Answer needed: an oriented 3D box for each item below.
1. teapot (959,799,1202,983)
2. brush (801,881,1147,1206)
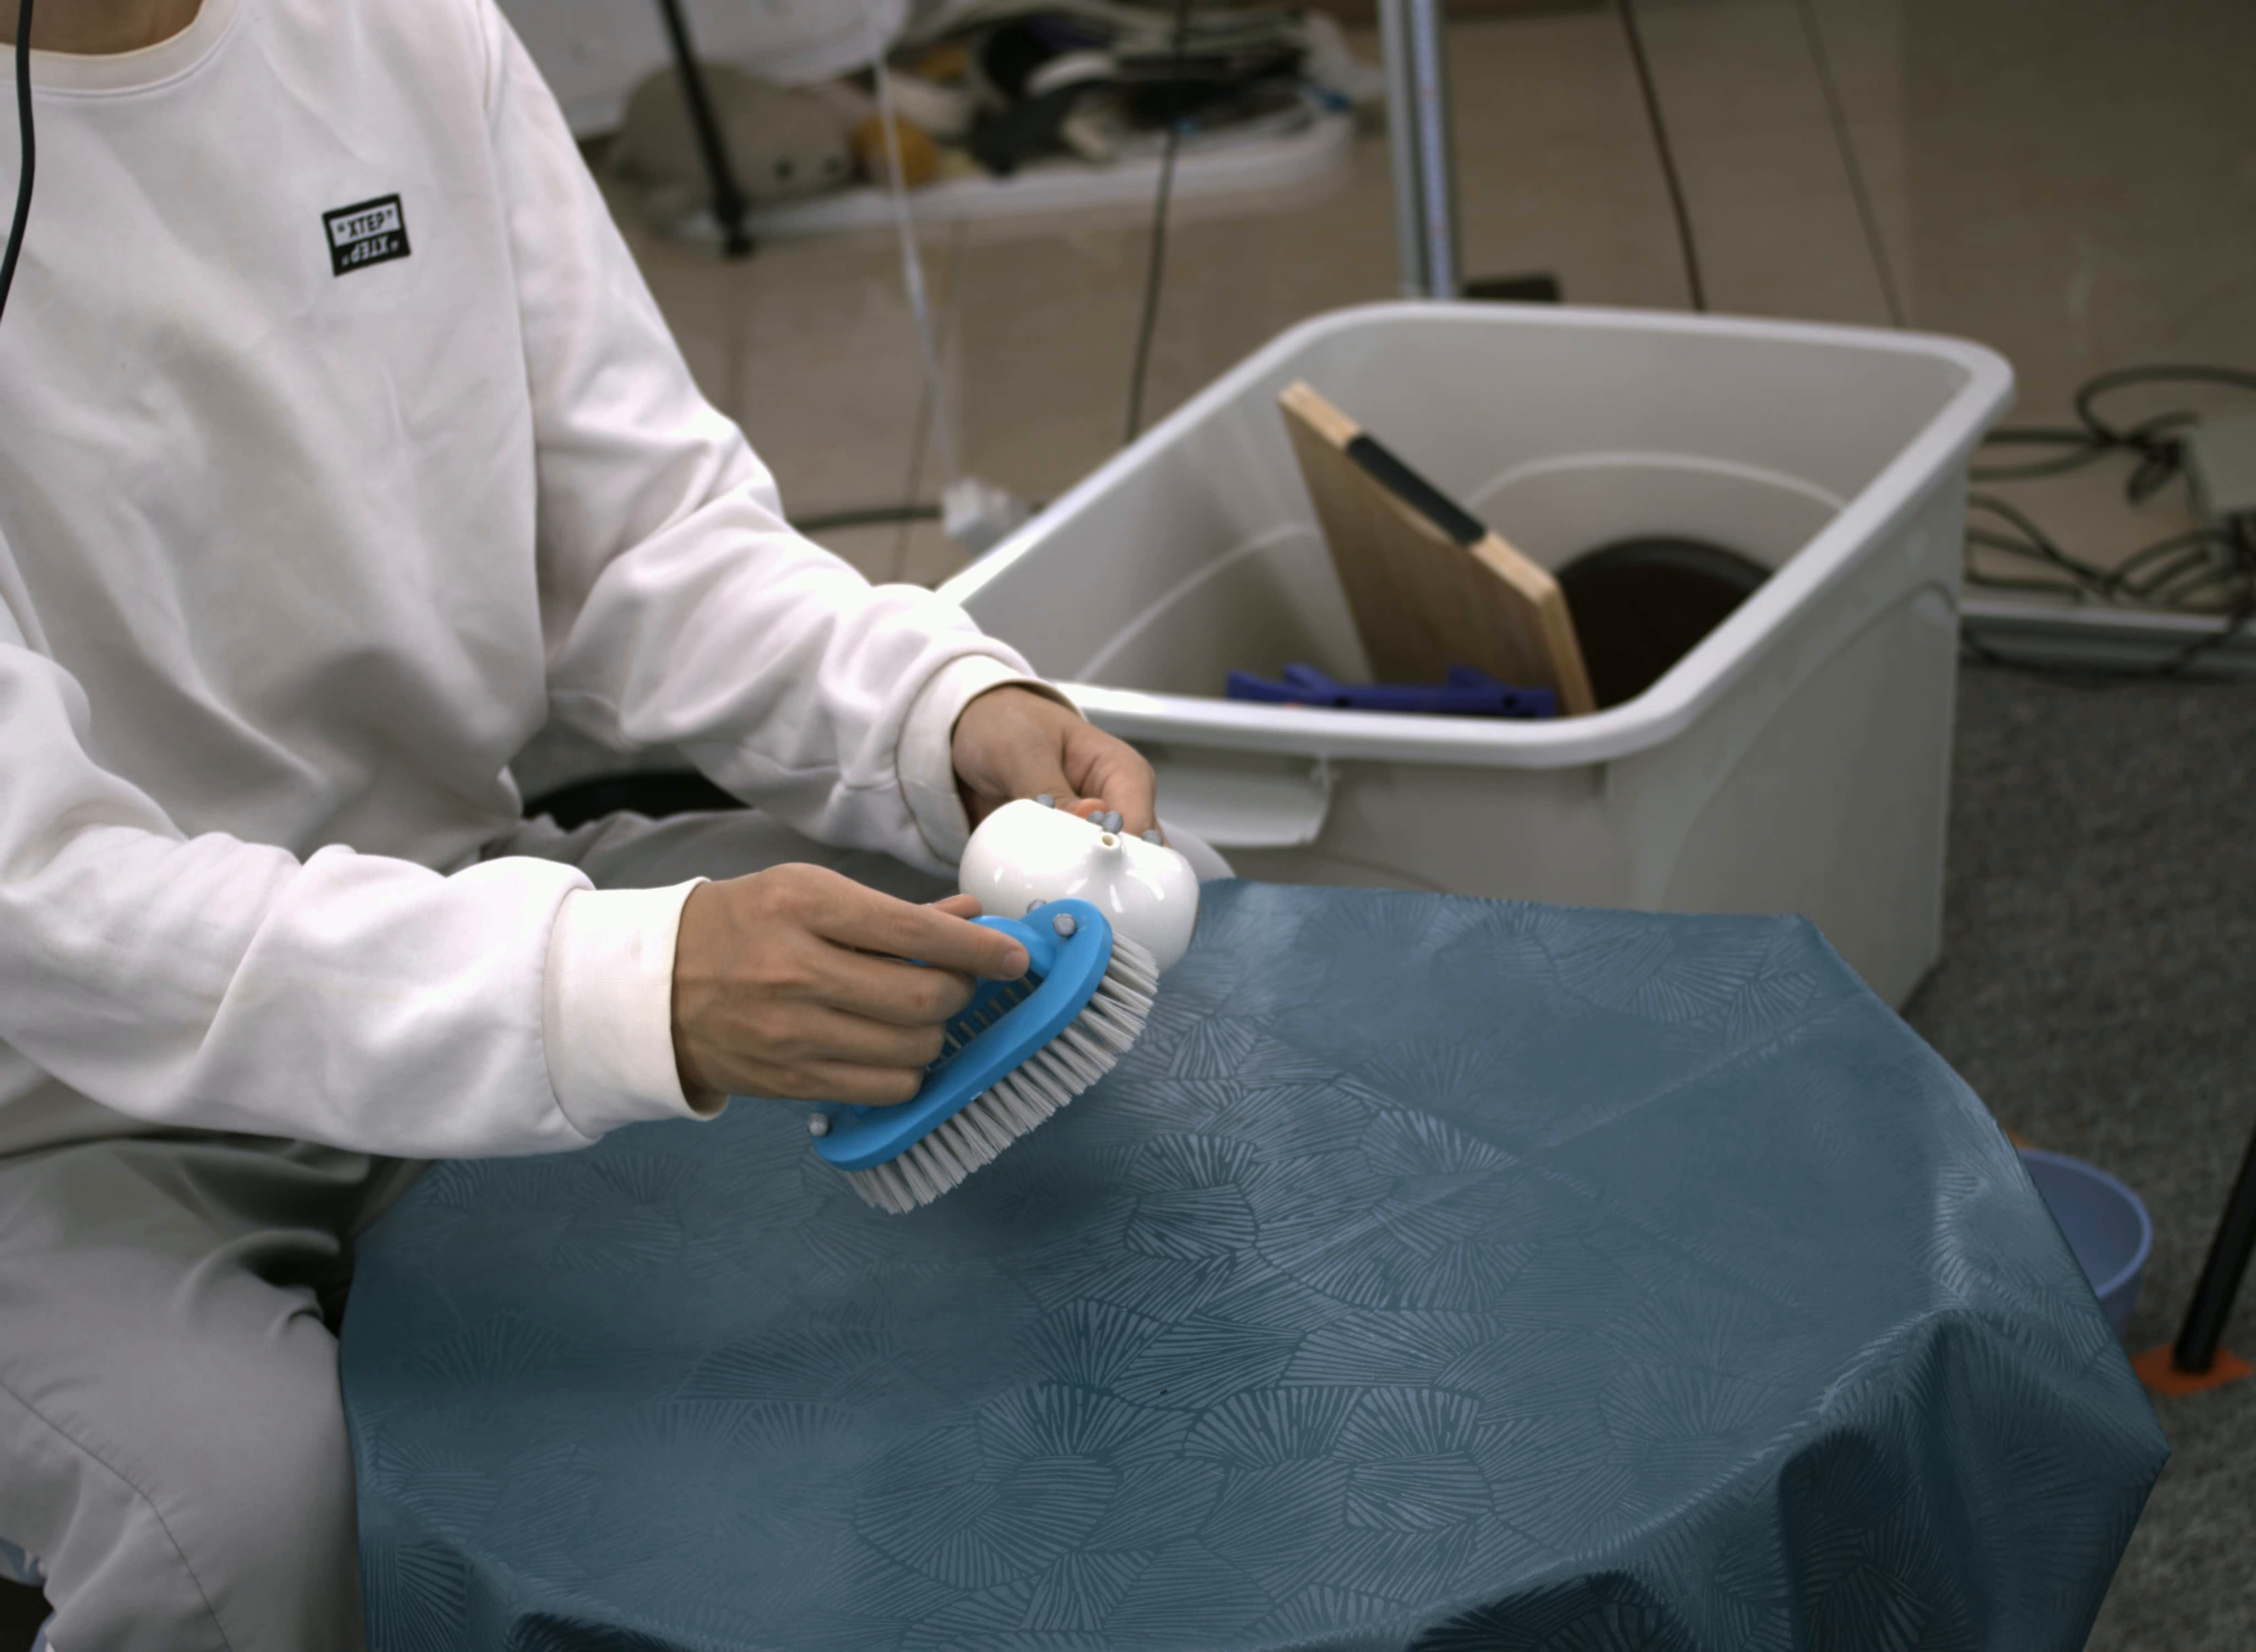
[{"bbox_3d":[-0.020,0.025,2.153,0.093,0.057,0.127,17,1,-10],"label":"teapot"},{"bbox_3d":[-0.064,0.072,2.040,0.142,0.064,0.083,-37,36,17],"label":"brush"}]
